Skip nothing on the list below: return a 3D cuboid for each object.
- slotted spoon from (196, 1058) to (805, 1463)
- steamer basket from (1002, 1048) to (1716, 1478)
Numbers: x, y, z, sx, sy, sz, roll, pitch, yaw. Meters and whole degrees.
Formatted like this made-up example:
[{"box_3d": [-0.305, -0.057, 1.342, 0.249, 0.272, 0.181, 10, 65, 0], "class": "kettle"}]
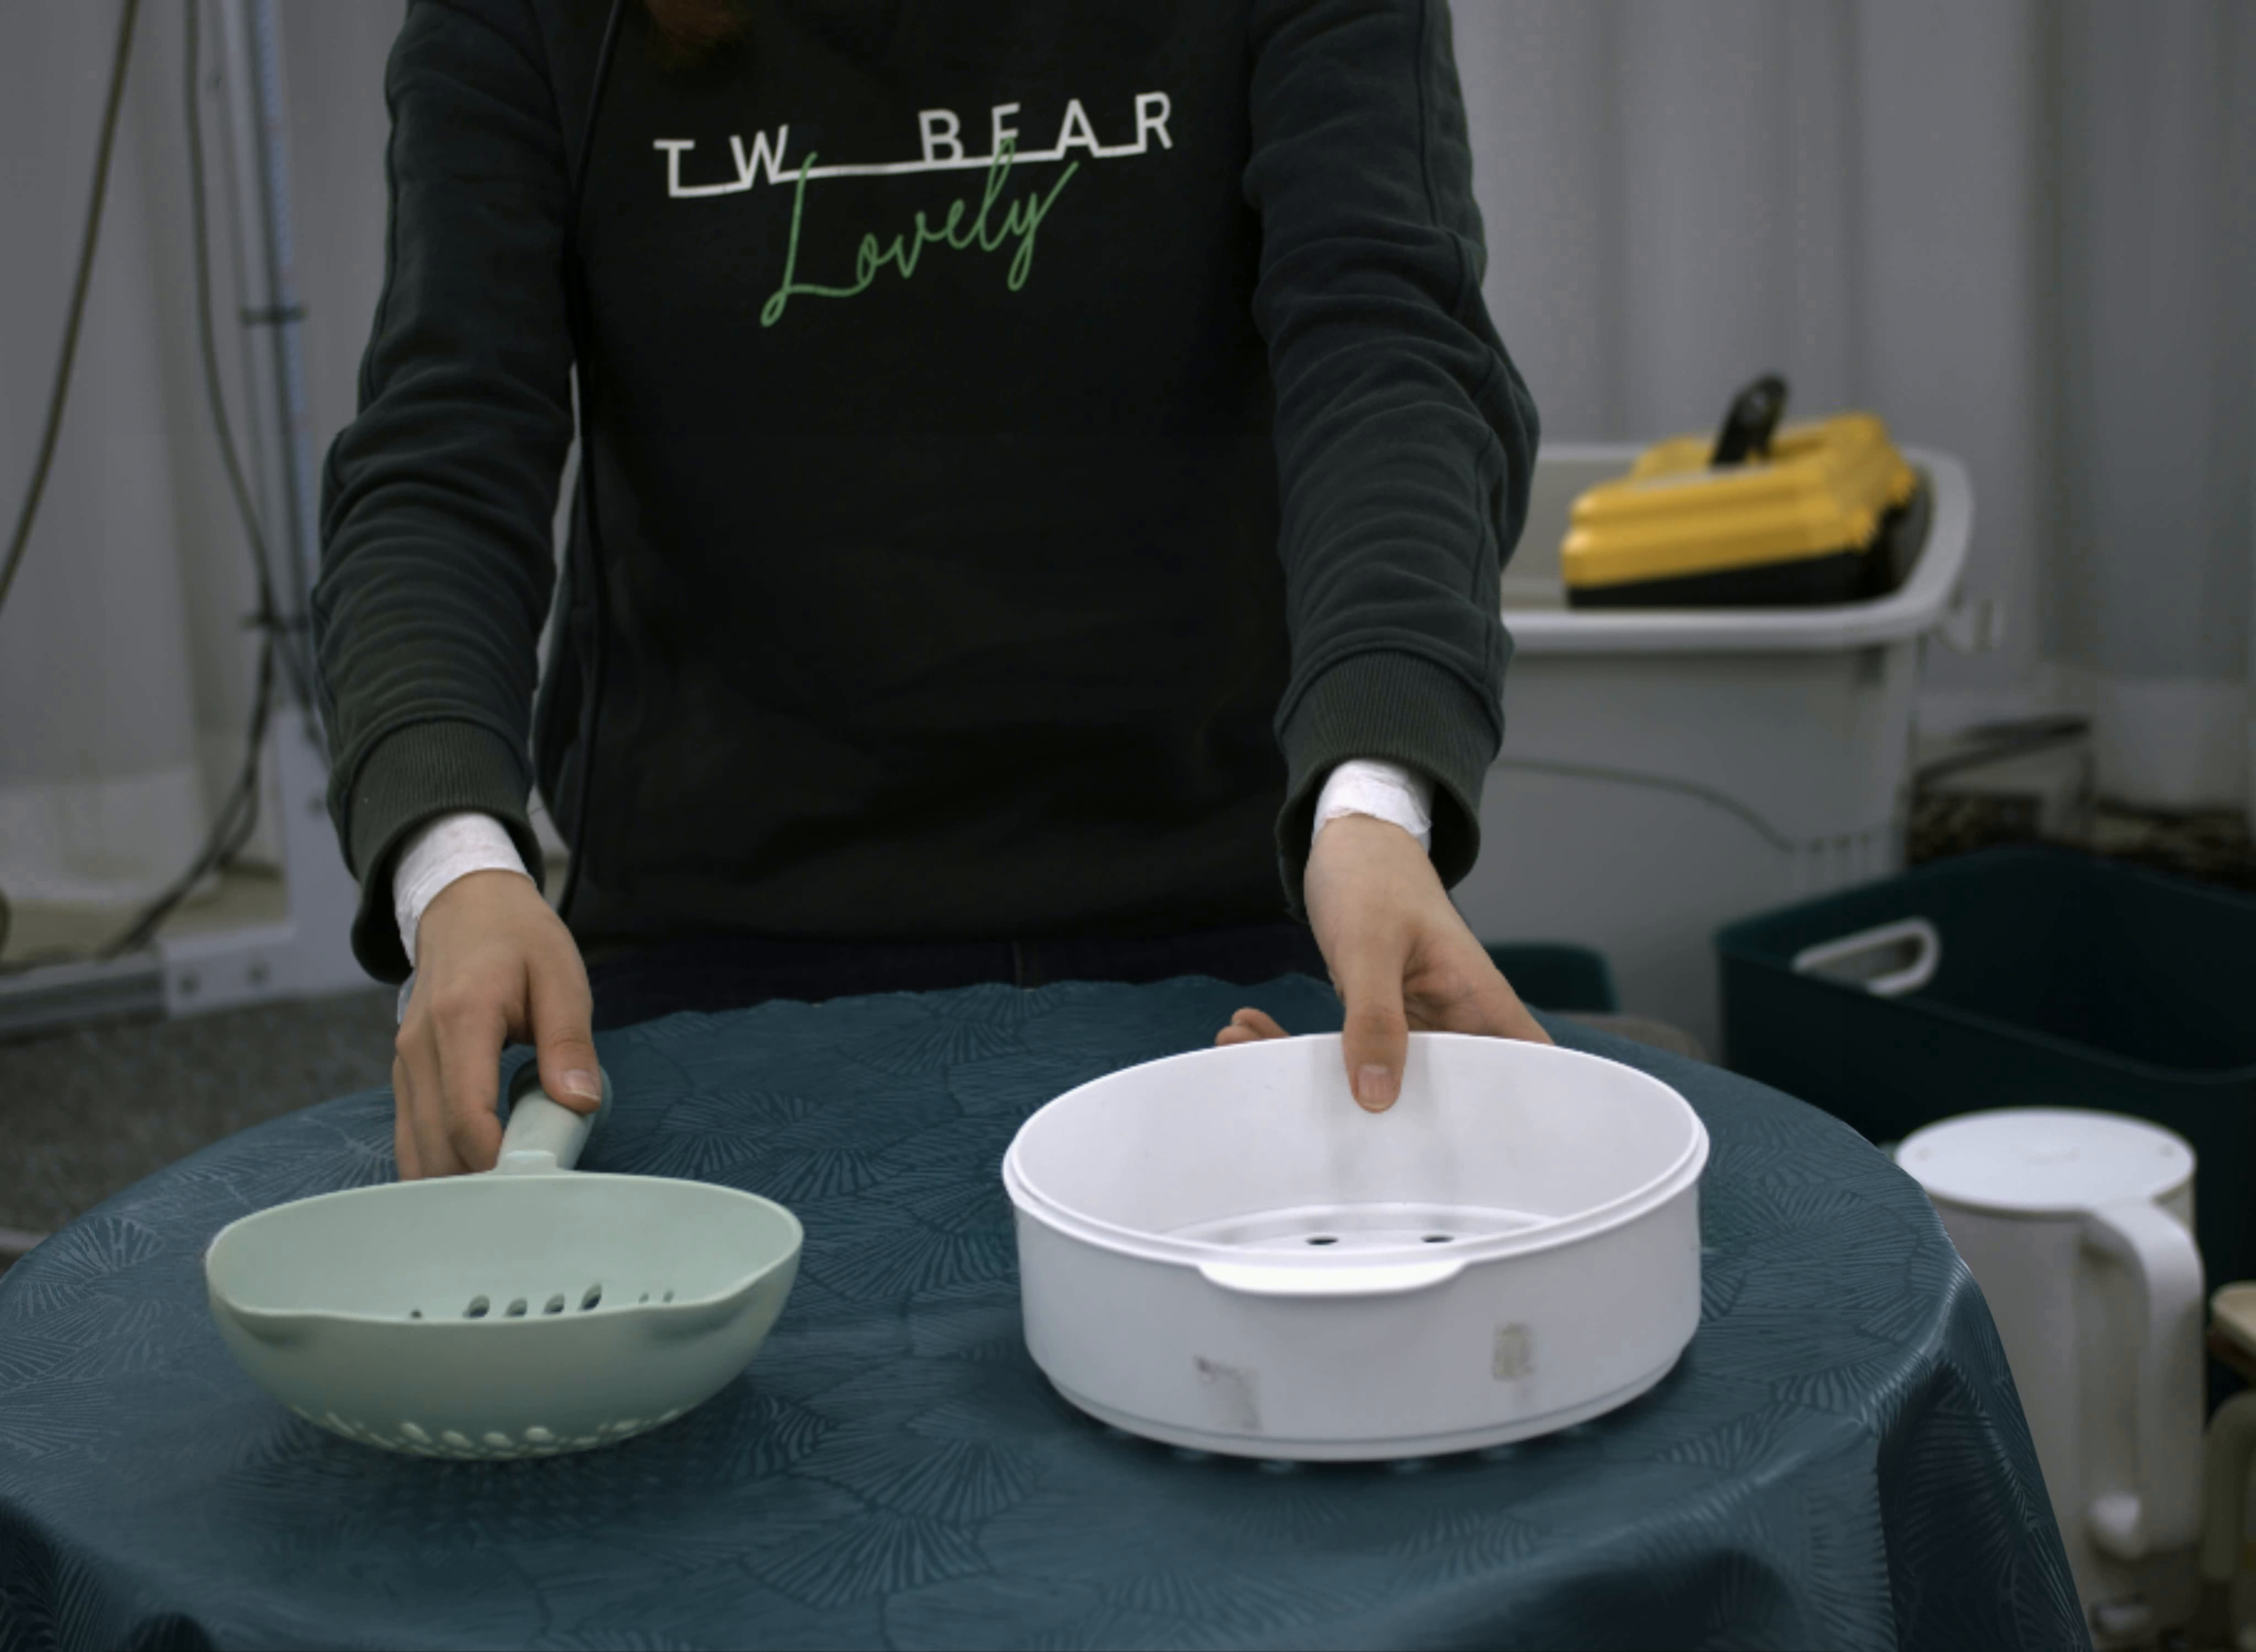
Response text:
[{"box_3d": [-0.177, 0.113, 1.619, 0.169, 0.075, 0.362, 0, 17, -1], "class": "slotted spoon"}, {"box_3d": [0.066, 0.123, 1.549, 0.201, 0.069, 0.232, 0, 15, 5], "class": "steamer basket"}]
